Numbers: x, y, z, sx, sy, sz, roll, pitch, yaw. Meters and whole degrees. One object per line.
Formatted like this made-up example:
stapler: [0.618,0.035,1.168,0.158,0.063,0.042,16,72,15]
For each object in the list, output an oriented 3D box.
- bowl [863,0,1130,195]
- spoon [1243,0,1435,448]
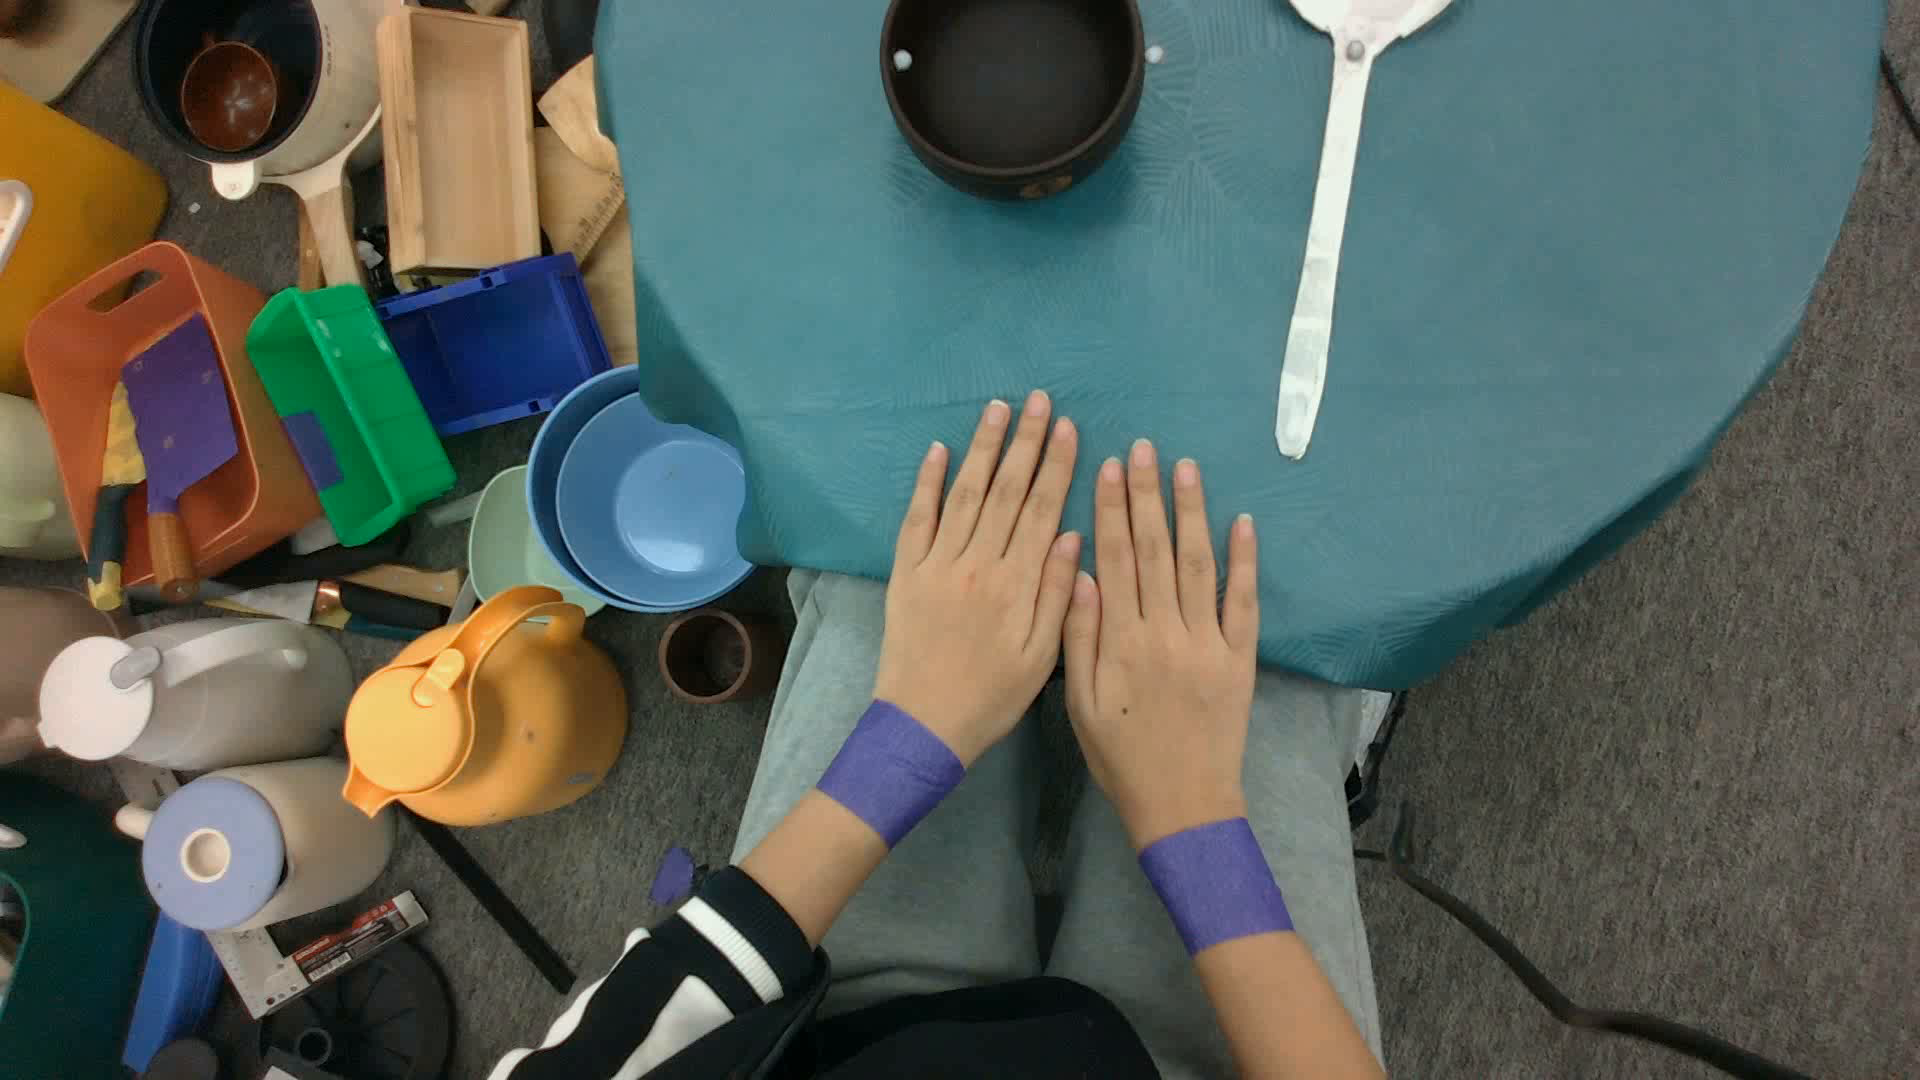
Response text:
bowl: [0.018,-0.214,0.631,0.118,0.070,0.118,-1,85,6]
spoon: [0.157,-0.181,0.622,0.100,0.059,0.277,11,86,10]
